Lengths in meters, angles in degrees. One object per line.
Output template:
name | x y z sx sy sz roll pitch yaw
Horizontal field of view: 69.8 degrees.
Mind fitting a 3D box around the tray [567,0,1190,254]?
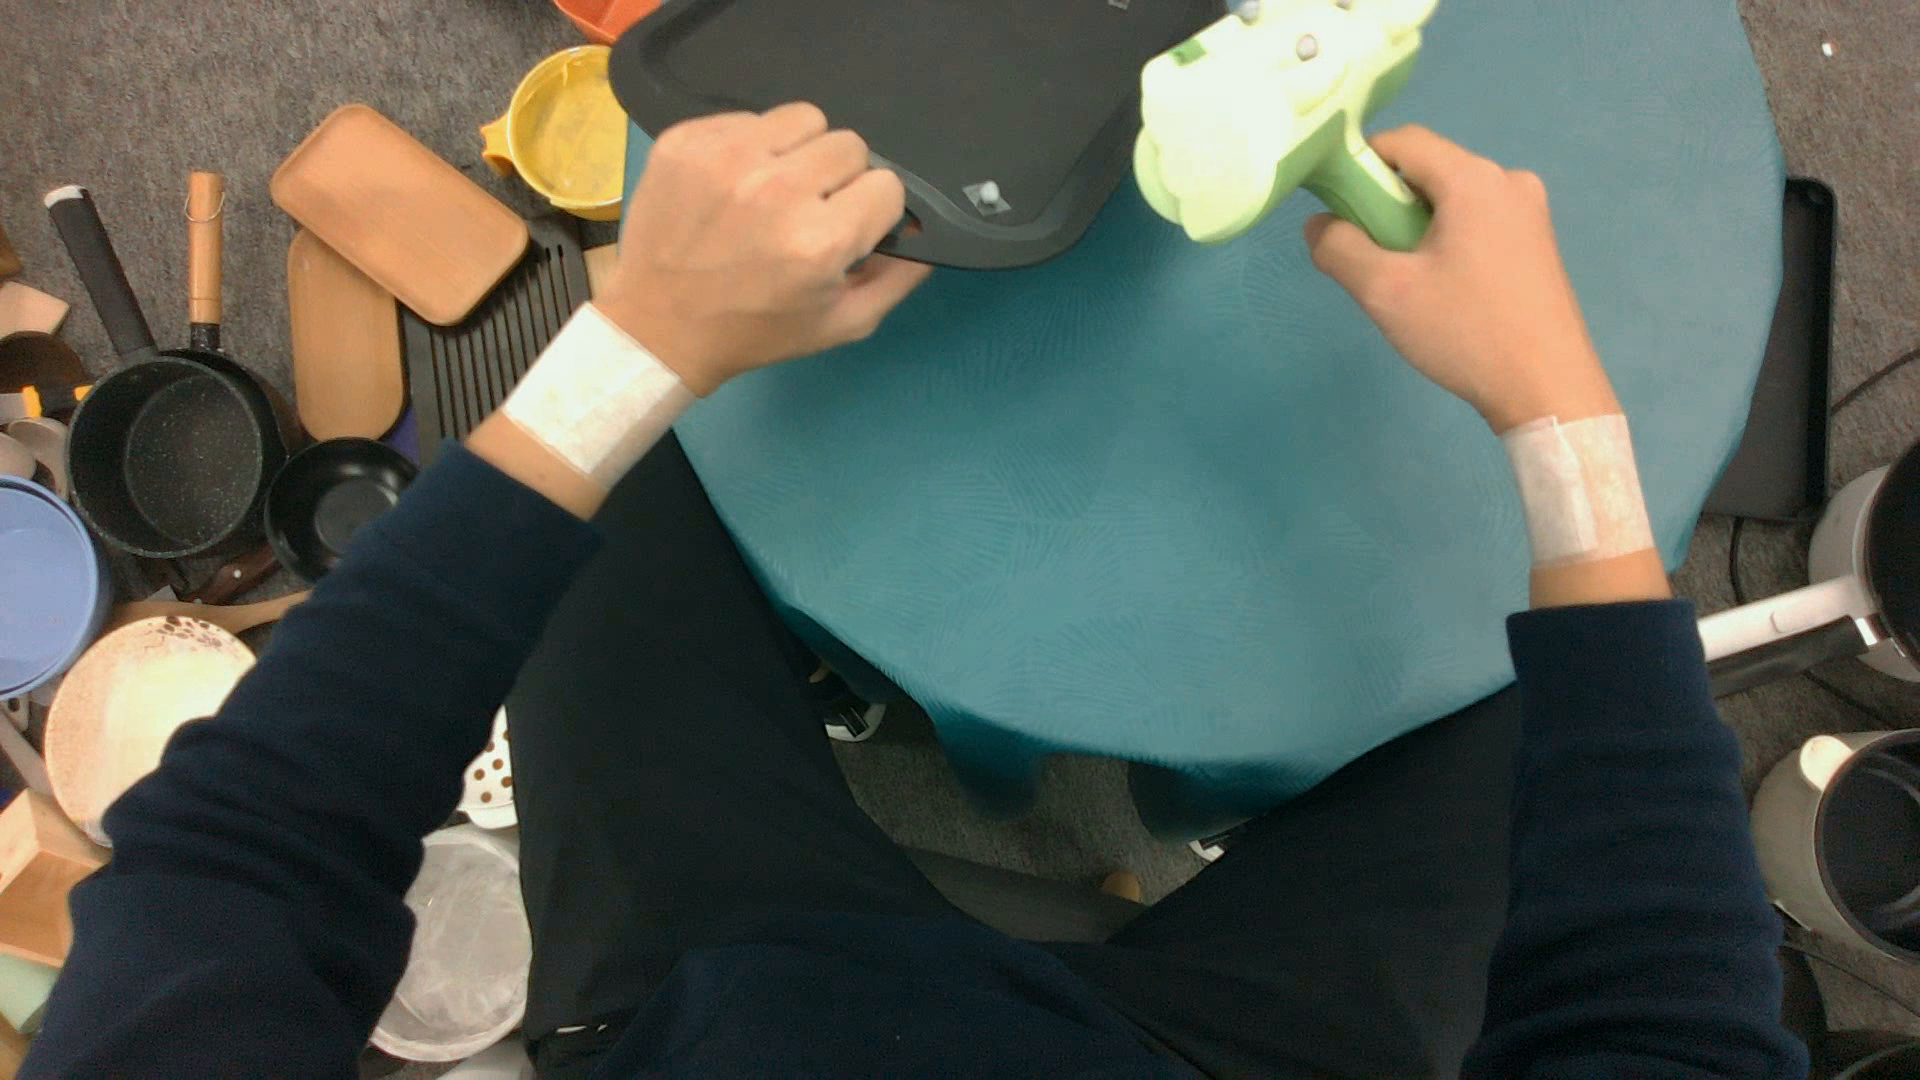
tray | -0.022 -0.228 0.619 0.211 0.010 0.327 24 46 7

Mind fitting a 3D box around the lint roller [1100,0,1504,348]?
lint roller | 0.158 -0.155 0.542 0.183 0.082 0.199 37 42 2
